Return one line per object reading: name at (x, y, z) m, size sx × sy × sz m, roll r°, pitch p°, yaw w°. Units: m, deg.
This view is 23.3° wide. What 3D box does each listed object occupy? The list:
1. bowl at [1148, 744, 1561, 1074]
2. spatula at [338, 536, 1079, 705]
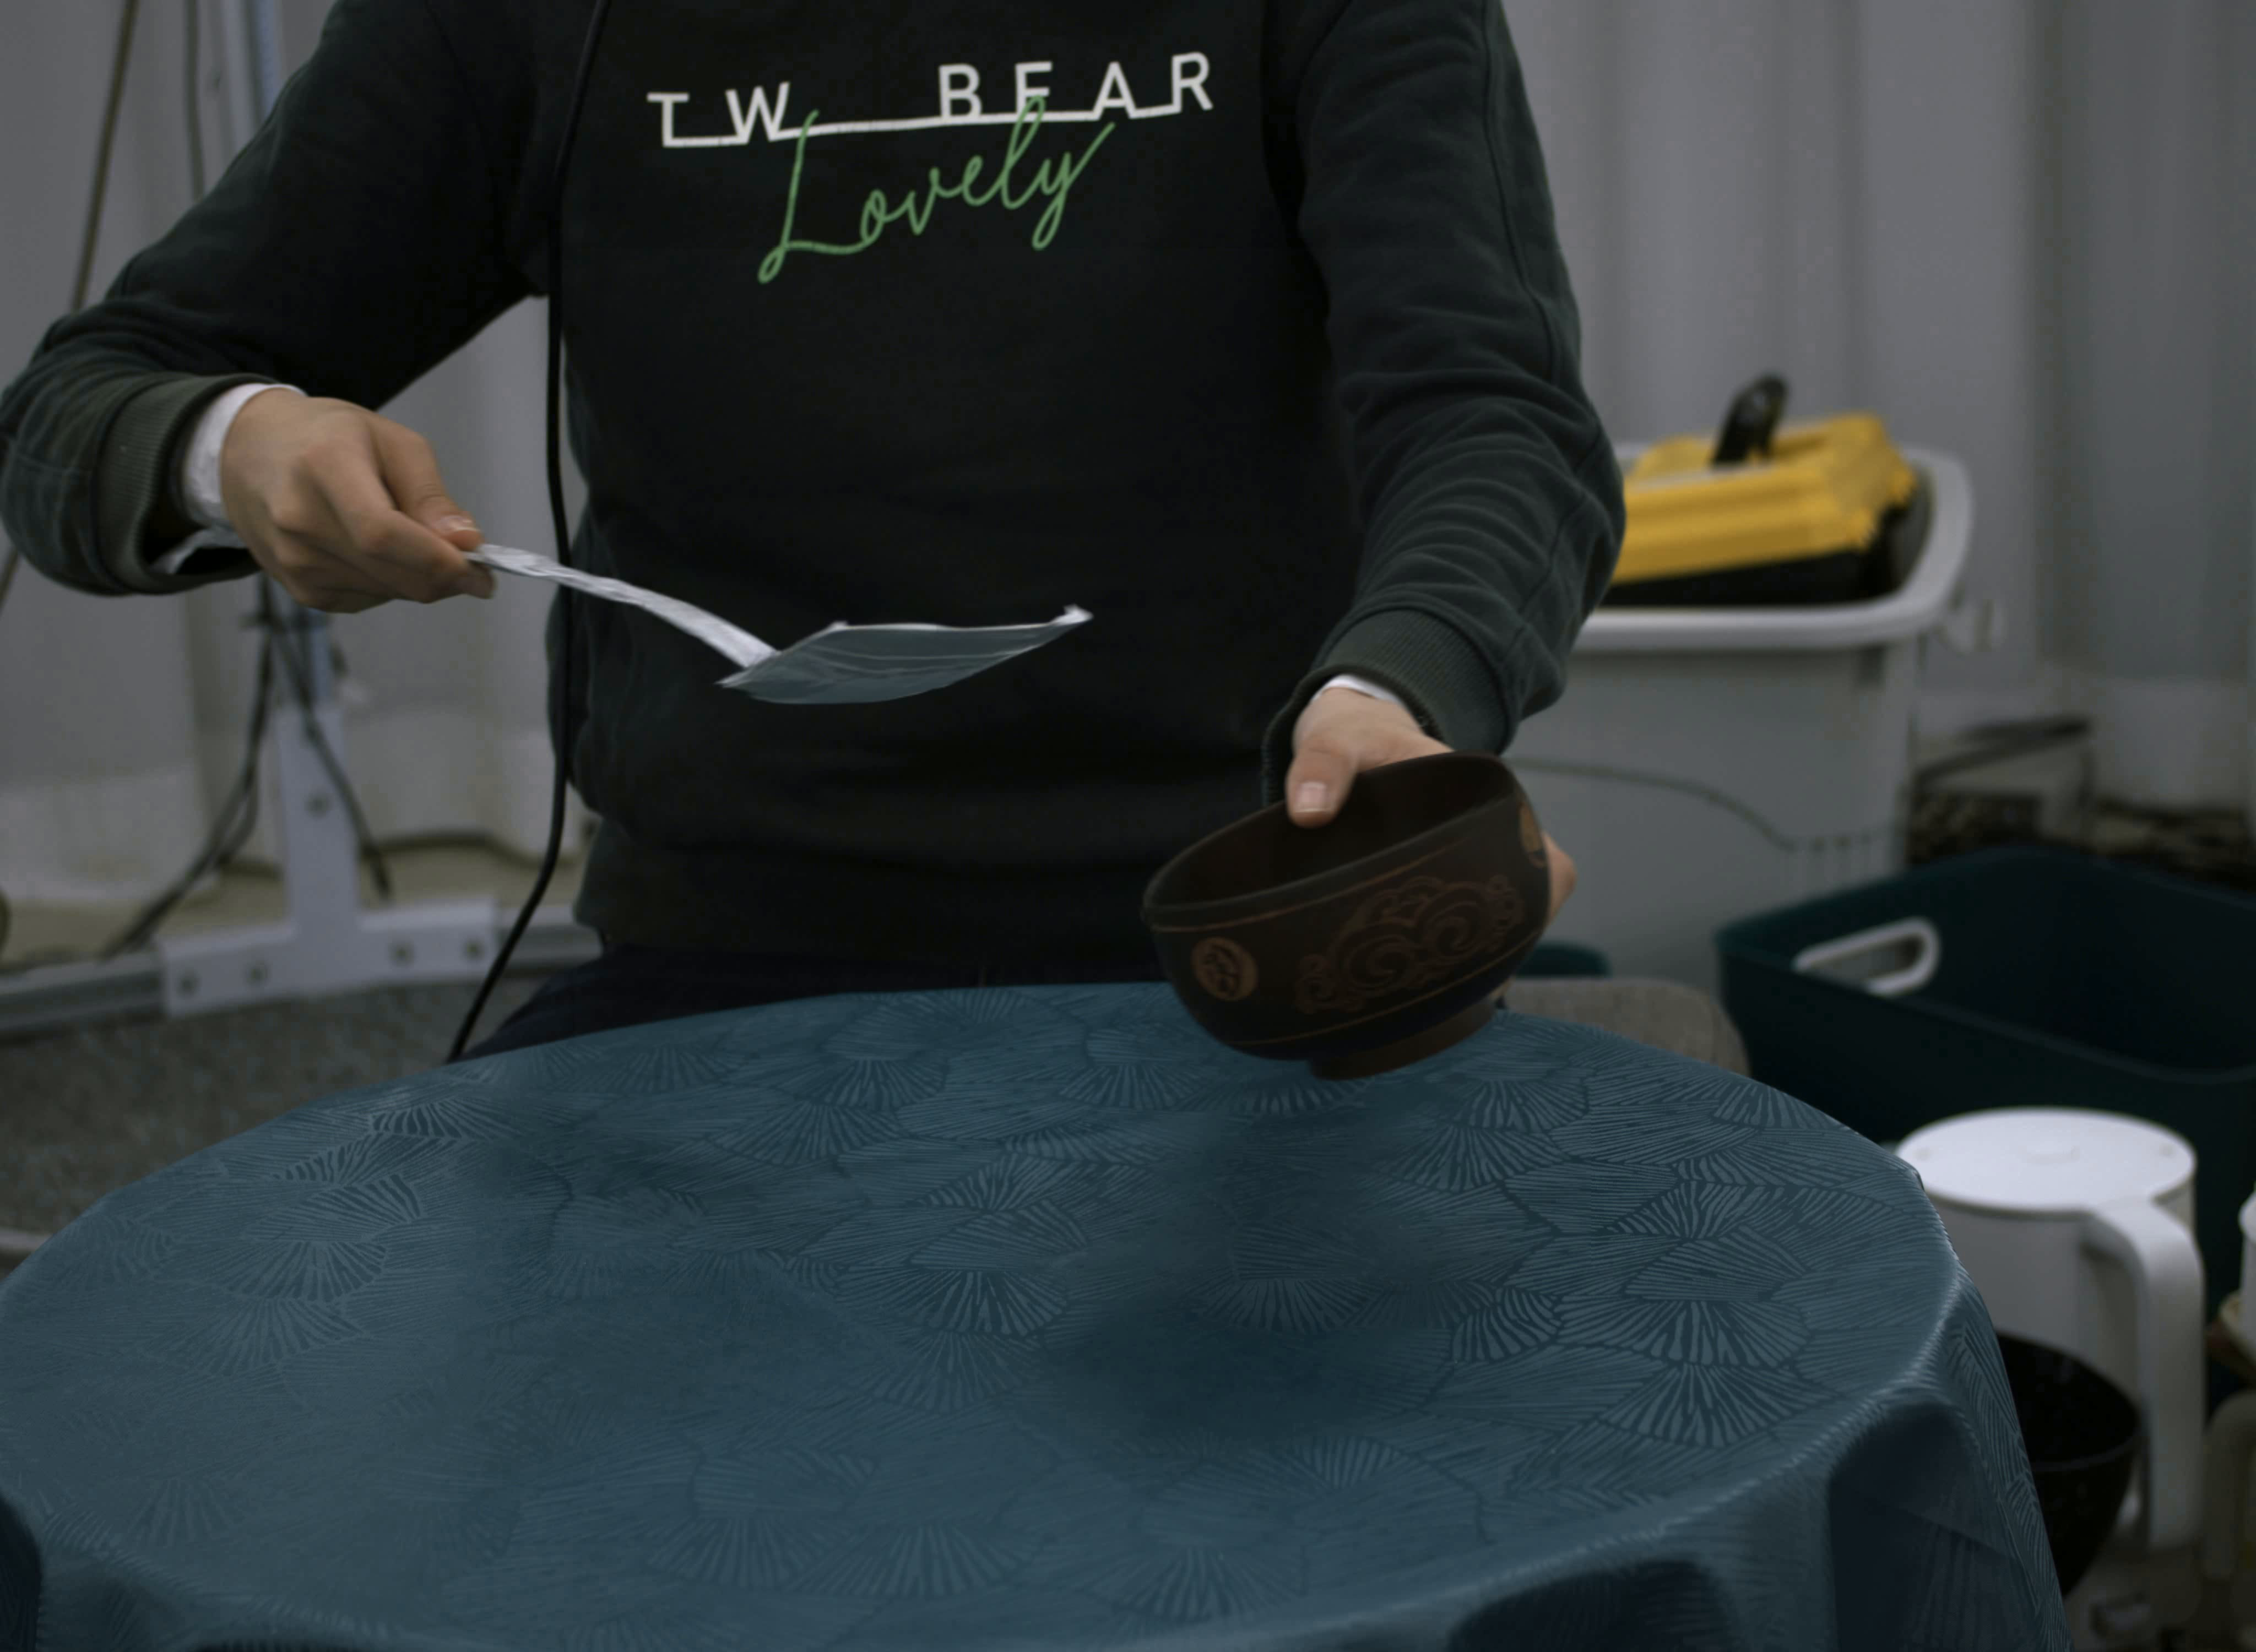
bowl at (0.071, 0.029, 1.586) m, size 0.118 × 0.069 × 0.118 m, roll -19°, pitch 10°, yaw 3°
spatula at (-0.156, -0.076, 1.732) m, size 0.098 × 0.044 × 0.367 m, roll -5°, pitch 15°, yaw -39°
